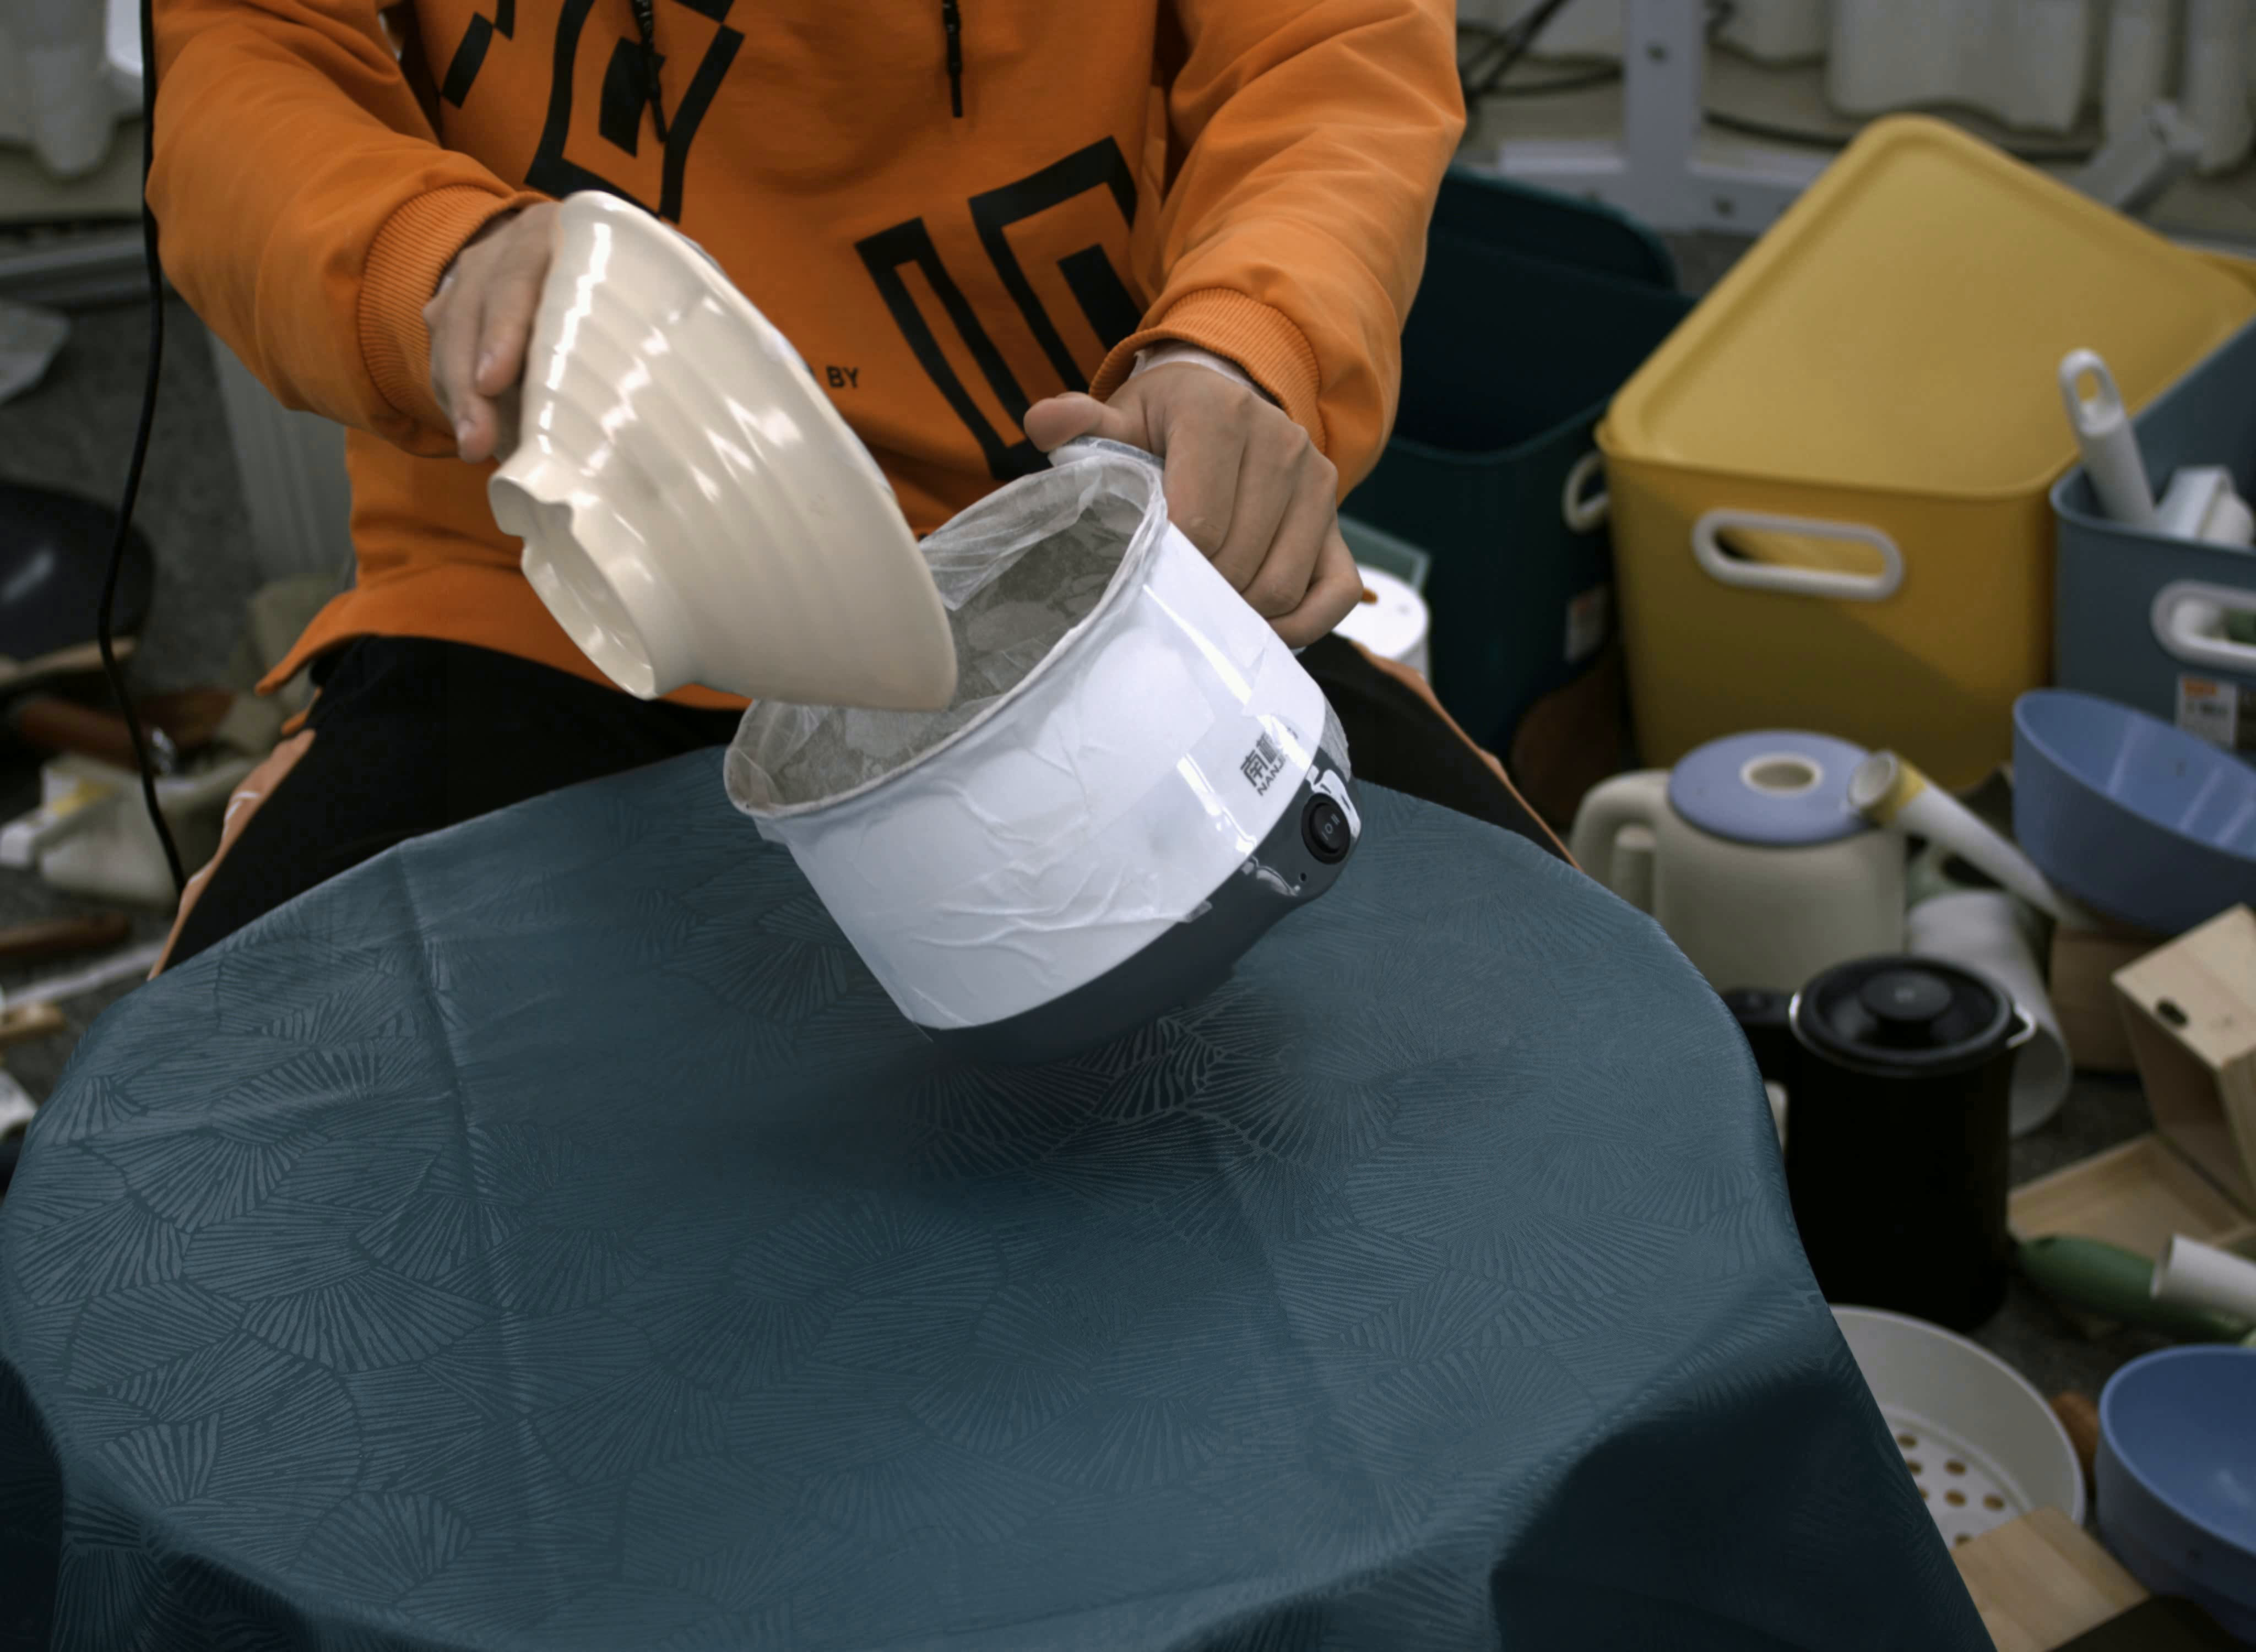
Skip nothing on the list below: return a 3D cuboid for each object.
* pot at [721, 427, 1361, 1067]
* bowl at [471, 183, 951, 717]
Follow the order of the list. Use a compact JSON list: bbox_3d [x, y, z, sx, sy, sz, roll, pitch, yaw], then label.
[{"bbox_3d":[-0.016,-0.036,1.884,0.176,0.136,0.238,-17,30,39],"label":"pot"},{"bbox_3d":[-0.151,-0.098,1.790,0.079,0.201,0.204,-39,41,-21],"label":"bowl"}]
